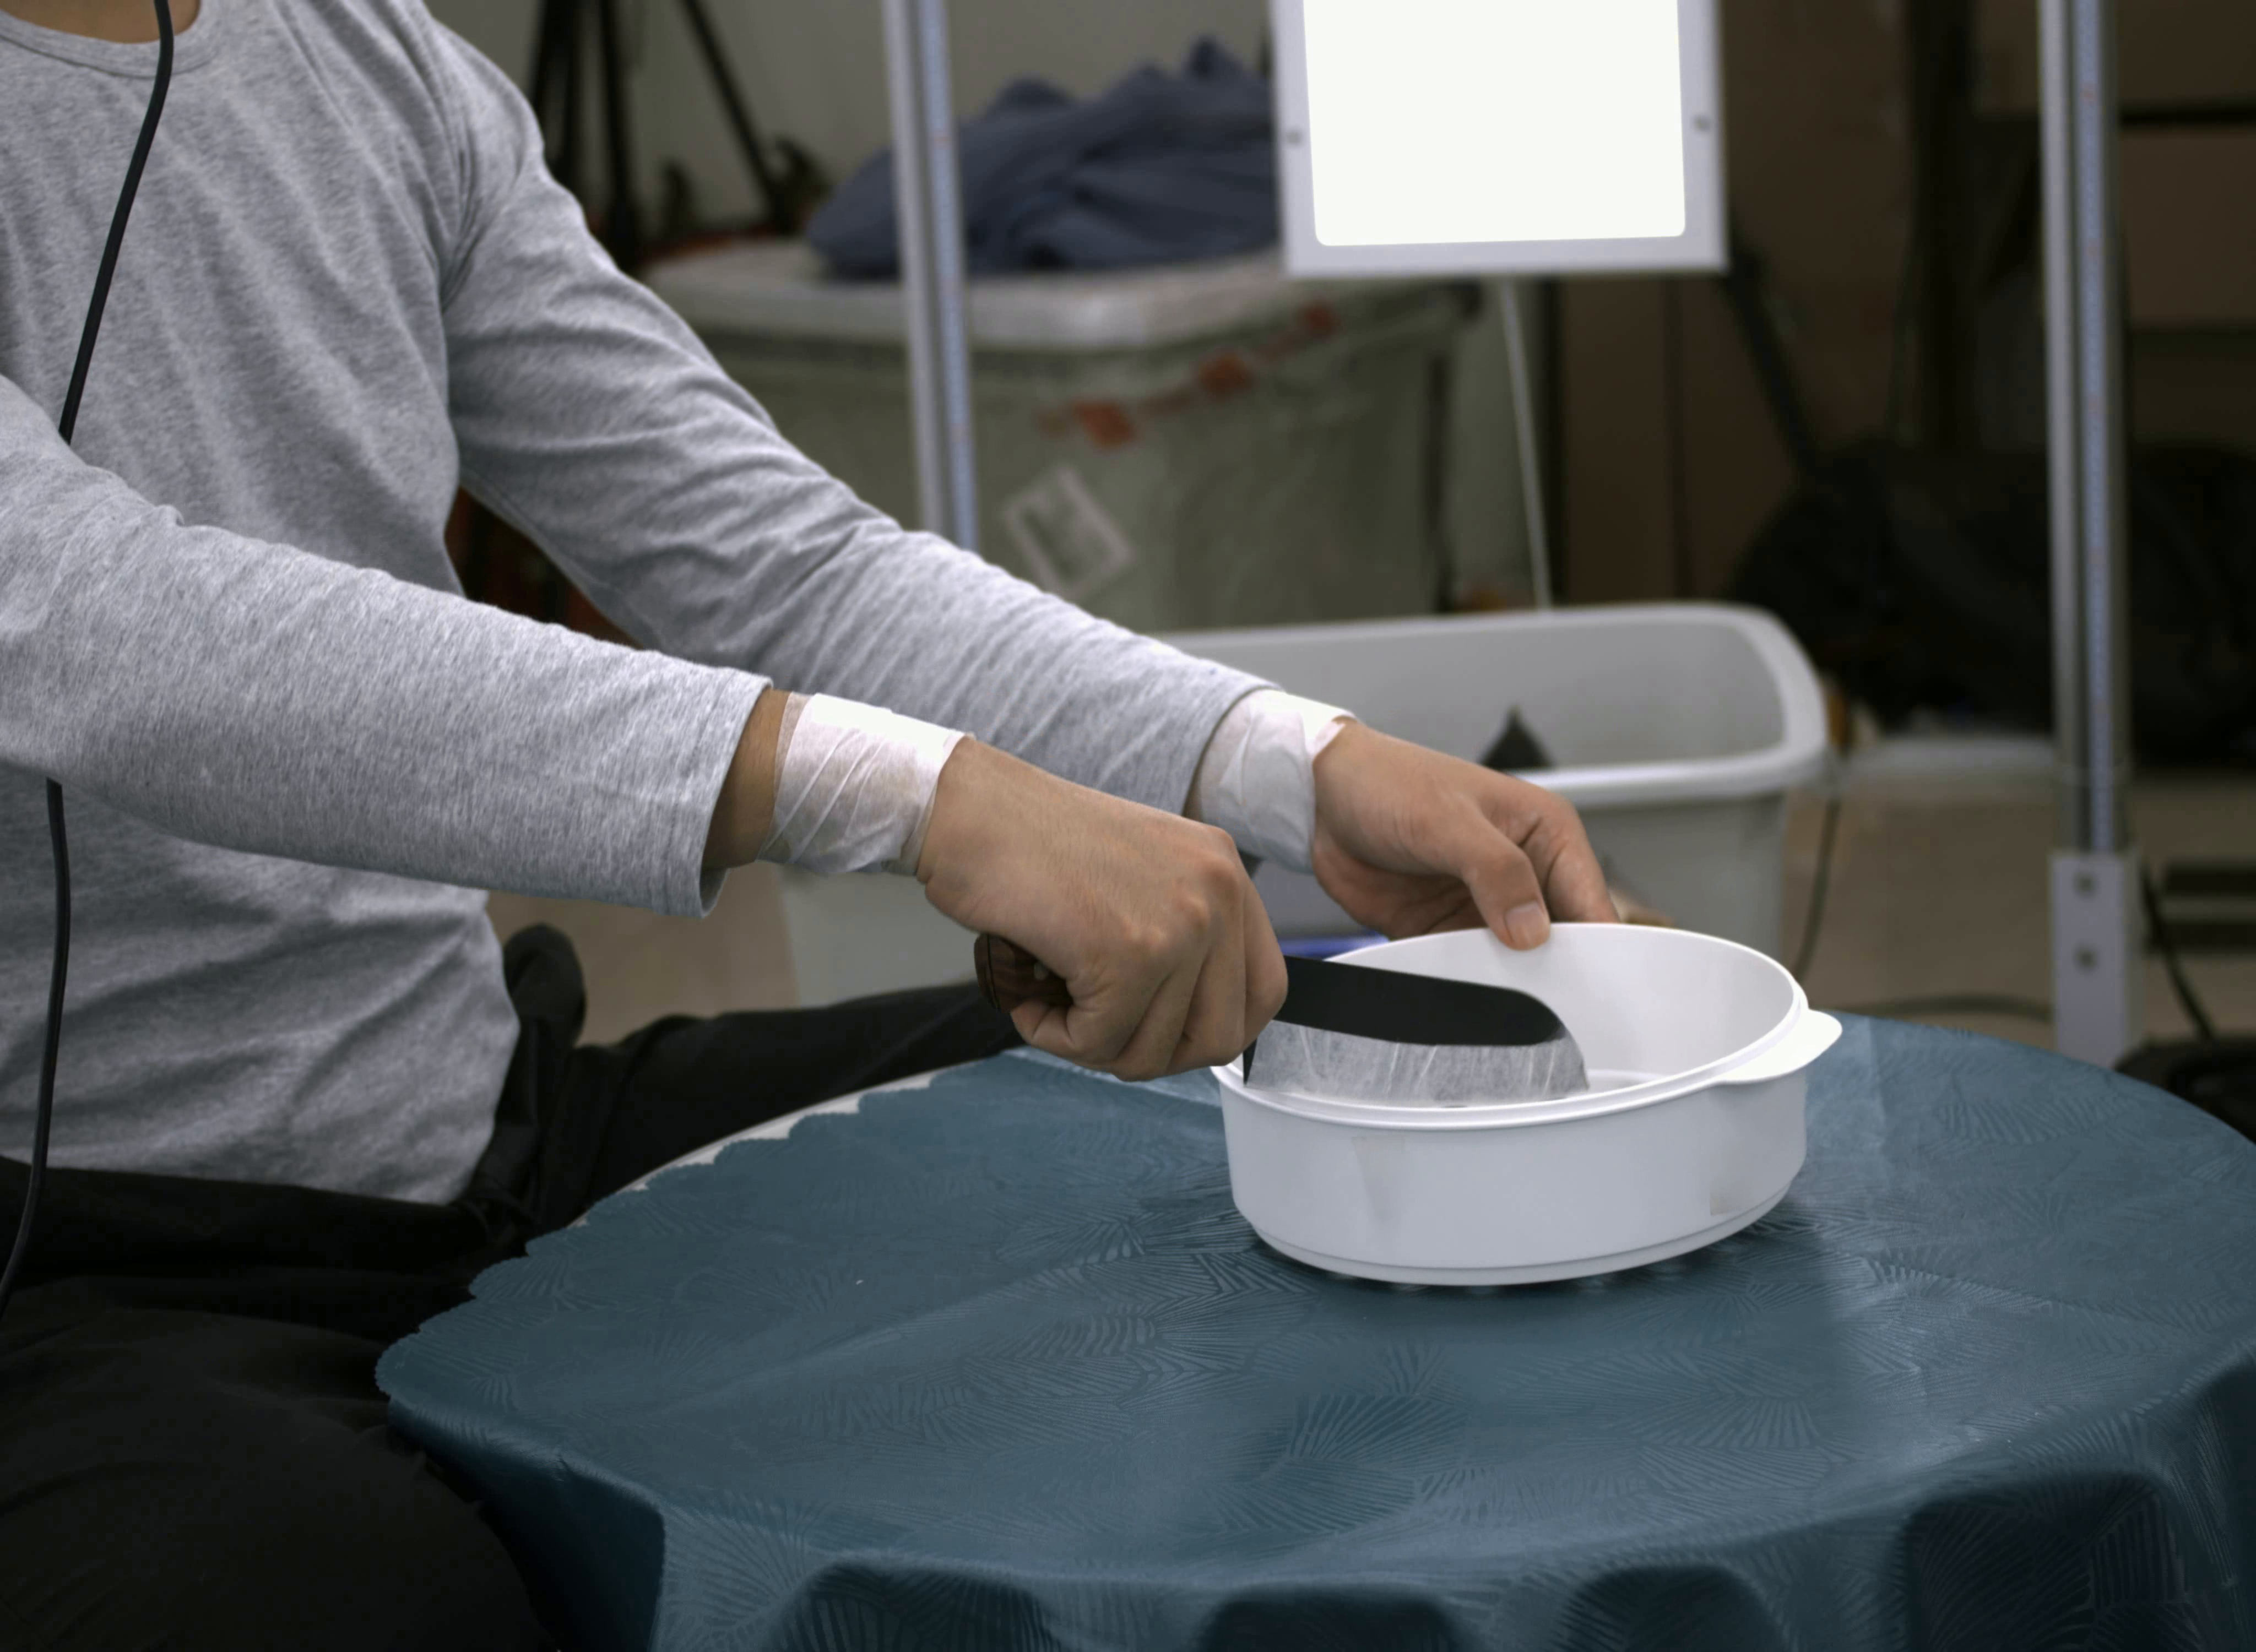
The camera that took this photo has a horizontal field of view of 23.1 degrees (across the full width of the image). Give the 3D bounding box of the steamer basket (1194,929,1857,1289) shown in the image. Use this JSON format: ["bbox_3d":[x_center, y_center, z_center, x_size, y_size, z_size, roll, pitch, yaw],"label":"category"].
[{"bbox_3d":[0.133,0.094,1.835,0.235,0.069,0.197,2,18,32],"label":"steamer basket"}]

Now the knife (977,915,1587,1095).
[{"bbox_3d":[0.057,0.062,1.774,0.282,0.050,0.020,13,1,-43],"label":"knife"}]
